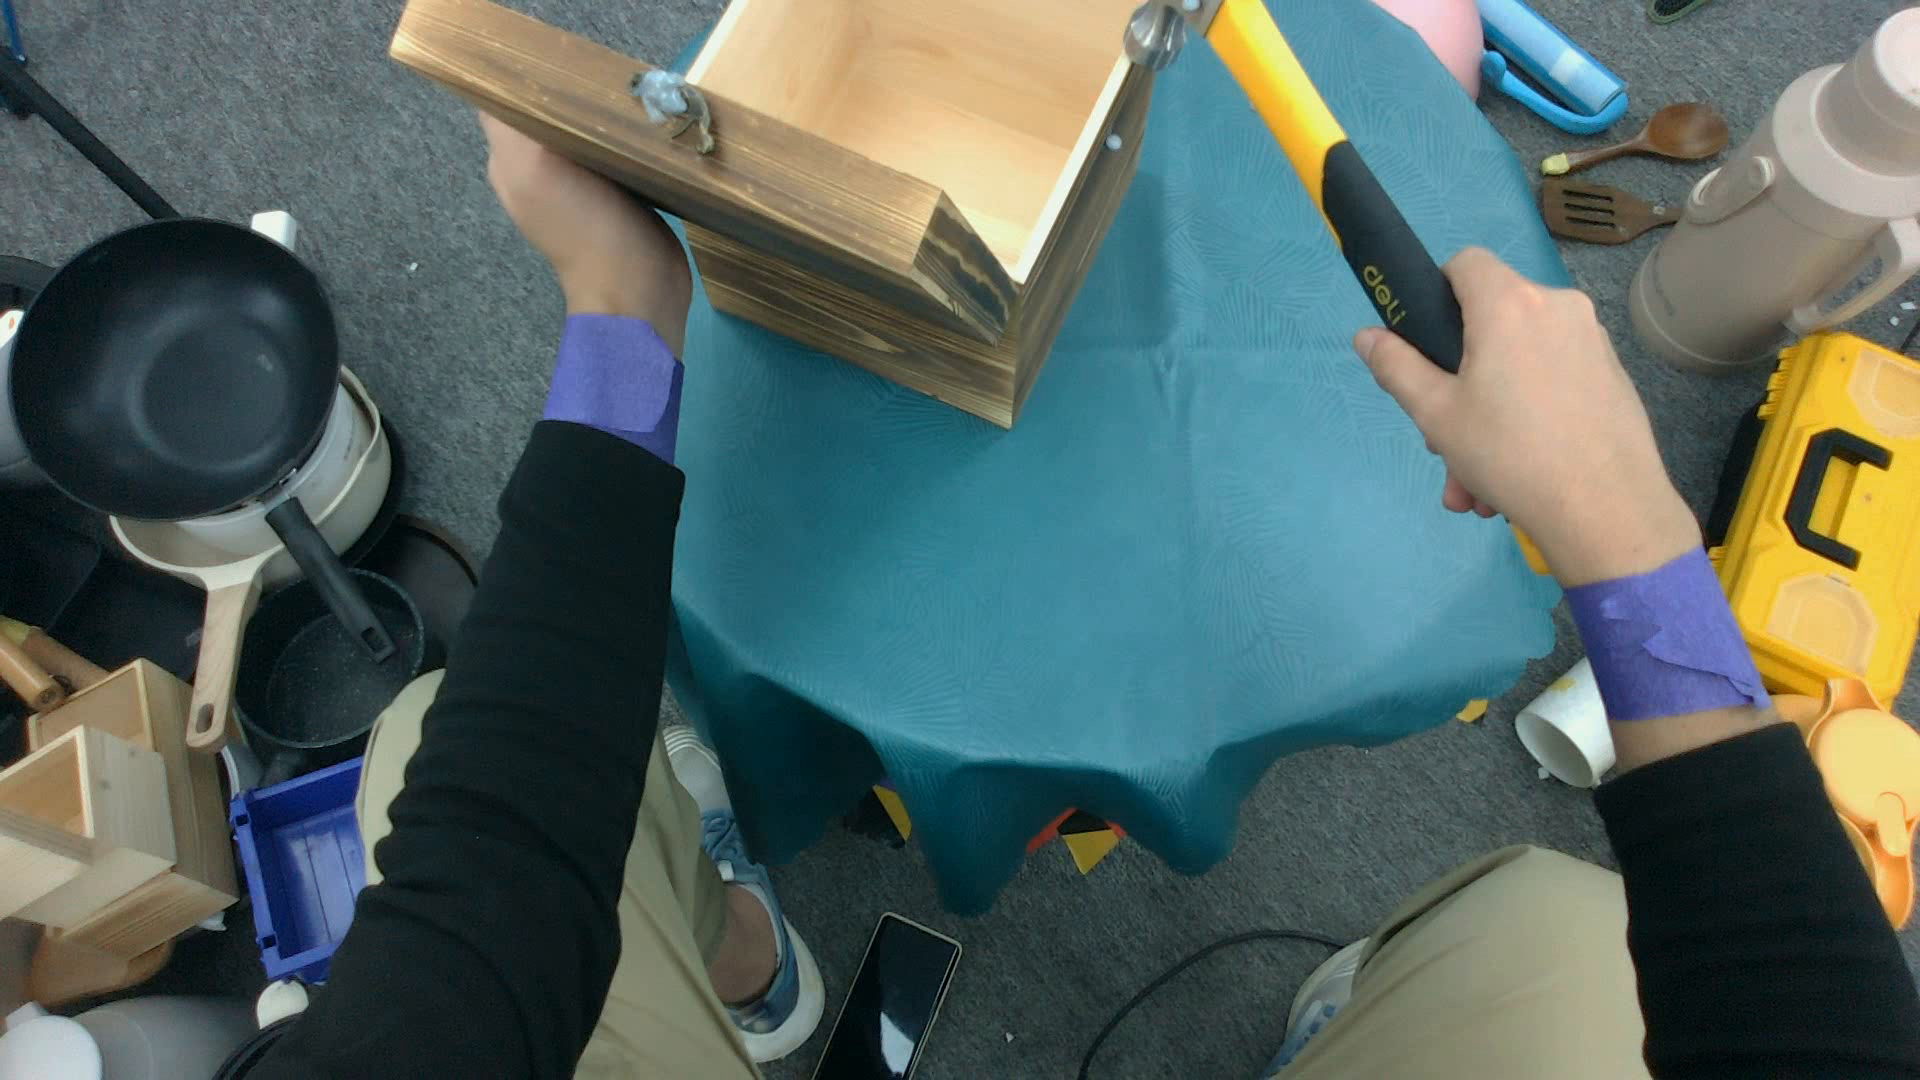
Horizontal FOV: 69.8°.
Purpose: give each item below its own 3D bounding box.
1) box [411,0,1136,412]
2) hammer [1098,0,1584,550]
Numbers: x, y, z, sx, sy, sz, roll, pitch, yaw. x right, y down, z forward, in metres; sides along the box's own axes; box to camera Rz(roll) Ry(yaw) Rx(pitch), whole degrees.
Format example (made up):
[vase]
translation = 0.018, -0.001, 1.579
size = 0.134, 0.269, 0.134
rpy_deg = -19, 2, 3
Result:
[box]
translation = -0.053, -0.216, 0.667
size = 0.209, 0.374, 0.323
rpy_deg = 23, 70, 7
[hammer]
translation = 0.167, -0.146, 0.606
size = 0.032, 0.131, 0.339
rpy_deg = -25, 78, -18
